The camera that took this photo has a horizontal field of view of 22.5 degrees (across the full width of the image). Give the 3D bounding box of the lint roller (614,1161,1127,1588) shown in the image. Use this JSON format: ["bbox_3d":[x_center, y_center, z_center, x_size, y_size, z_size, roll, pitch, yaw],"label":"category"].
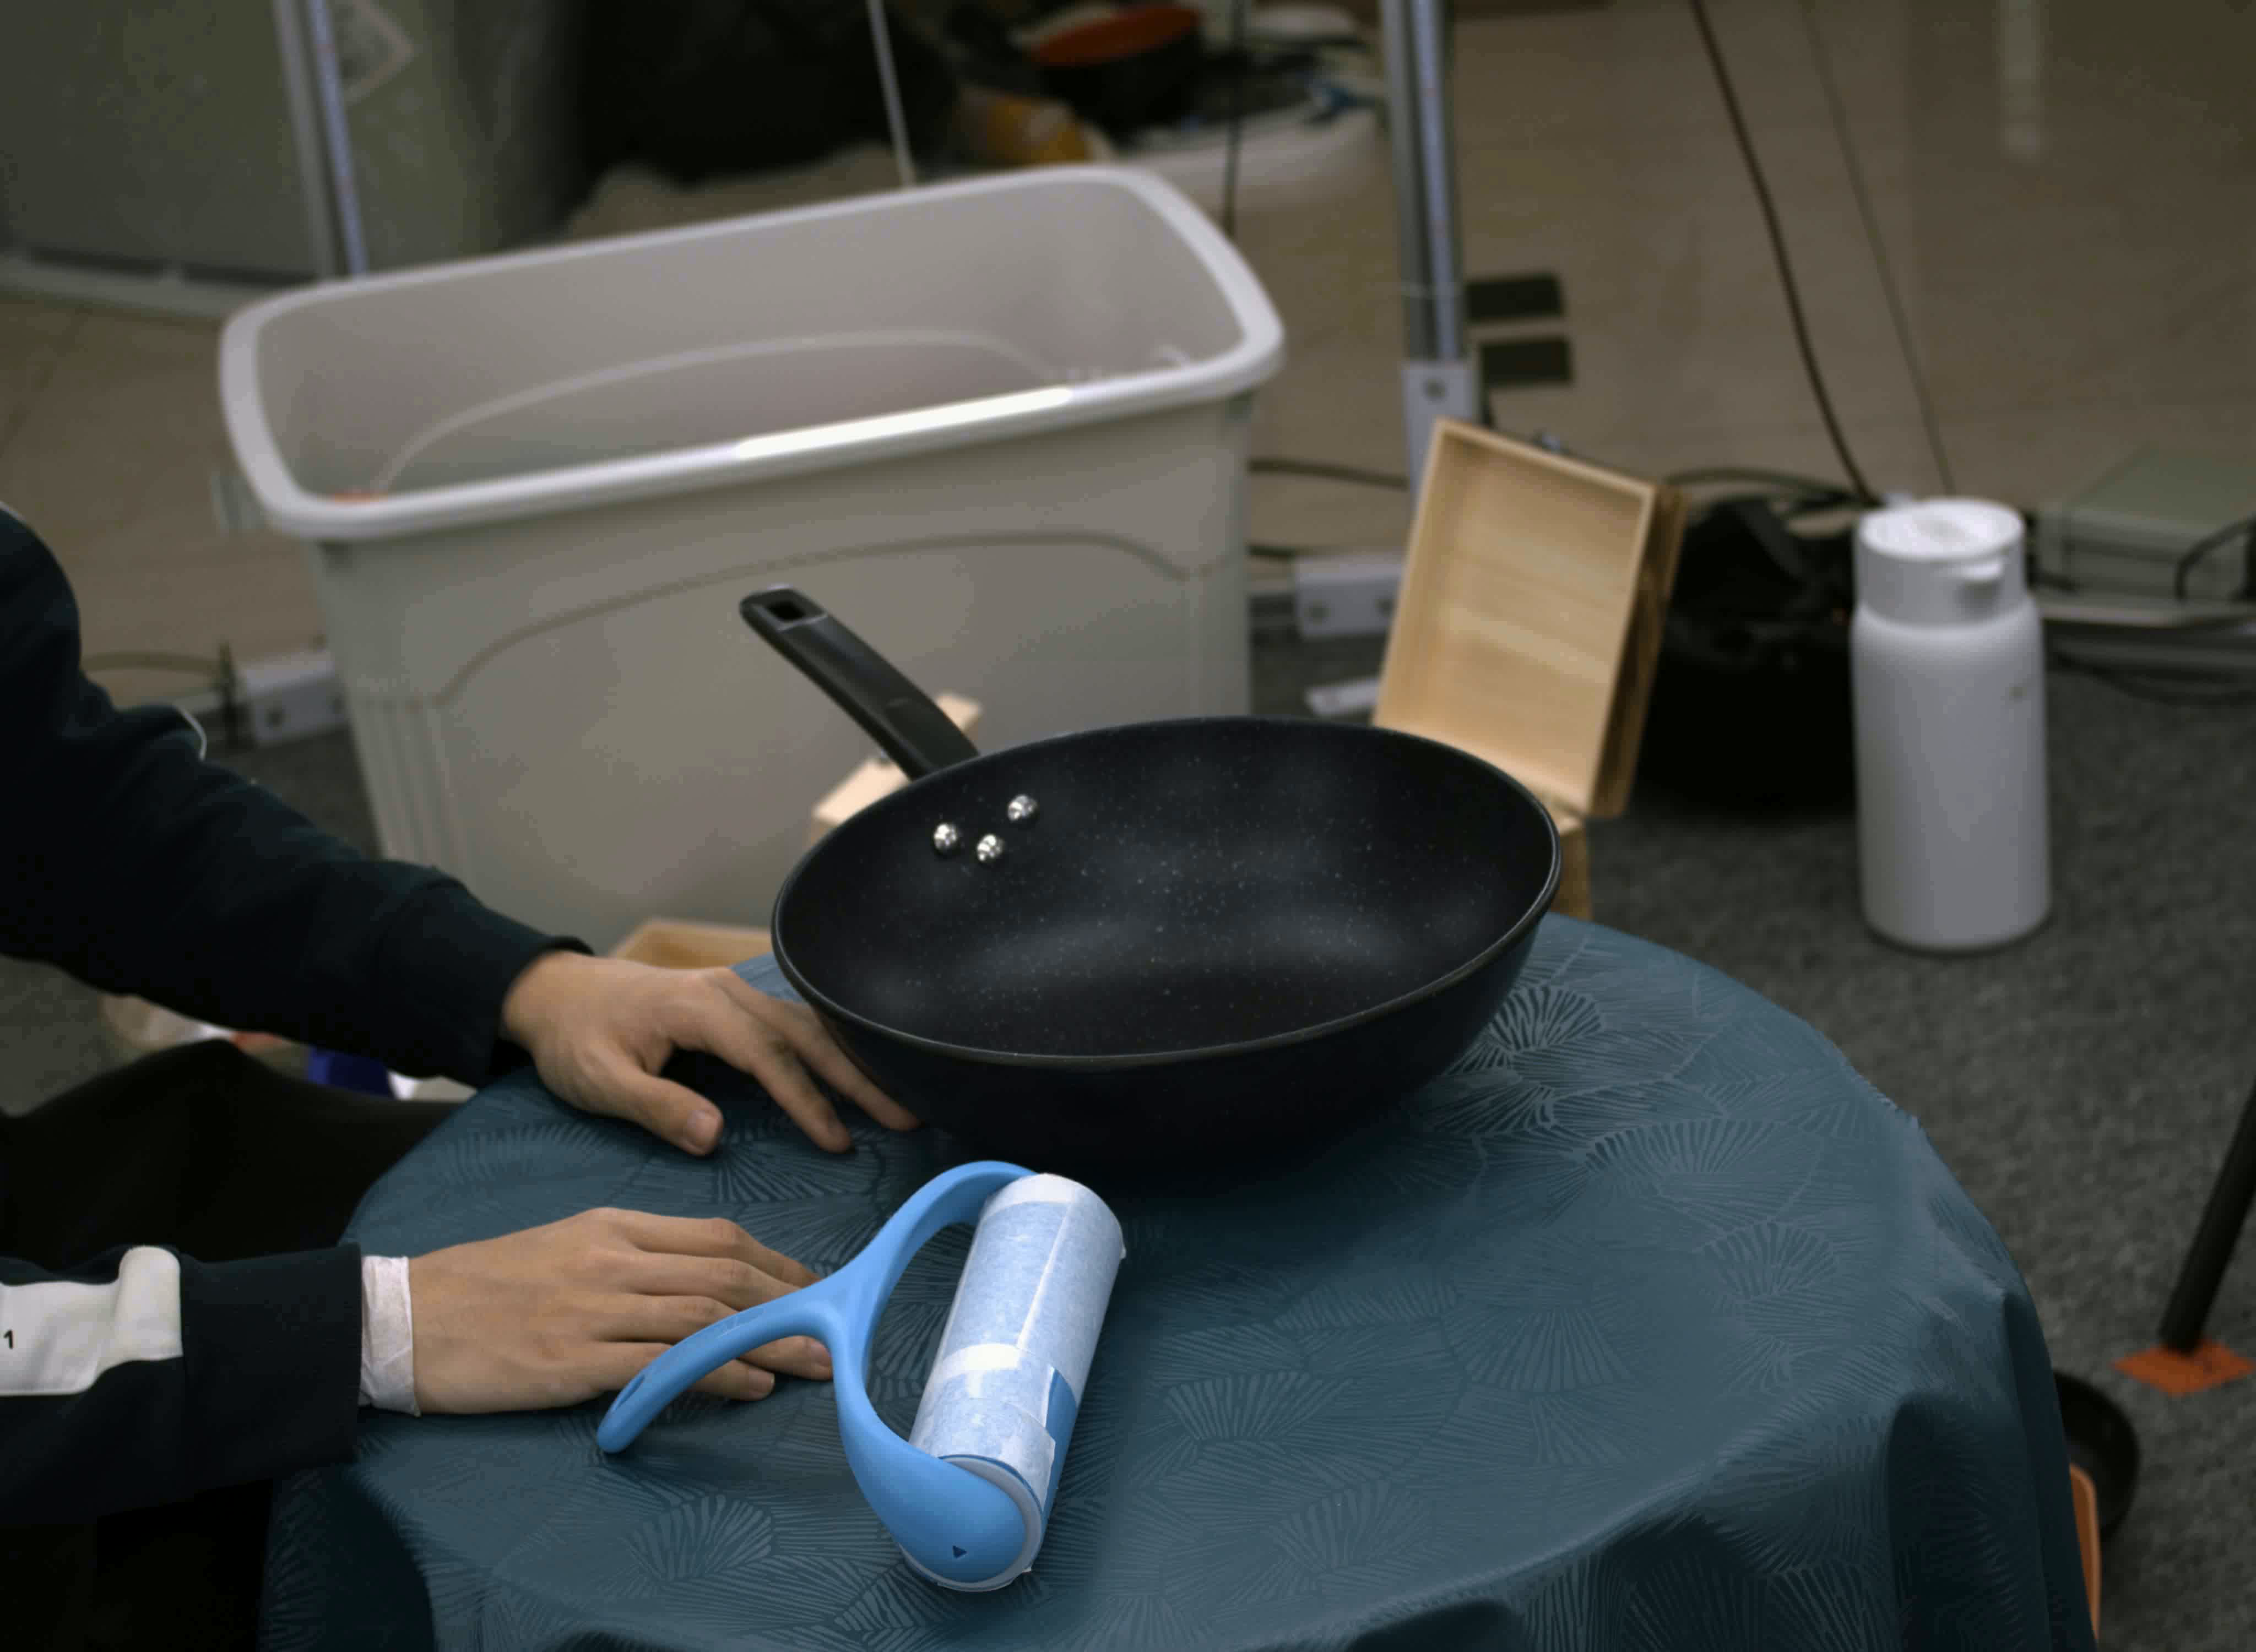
[{"bbox_3d":[-0.096,0.193,1.985,0.180,0.069,0.225,-4,27,6],"label":"lint roller"}]

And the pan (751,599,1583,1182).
[{"bbox_3d":[-0.022,0.025,2.265,0.308,0.113,0.472,-19,28,-28],"label":"pan"}]
